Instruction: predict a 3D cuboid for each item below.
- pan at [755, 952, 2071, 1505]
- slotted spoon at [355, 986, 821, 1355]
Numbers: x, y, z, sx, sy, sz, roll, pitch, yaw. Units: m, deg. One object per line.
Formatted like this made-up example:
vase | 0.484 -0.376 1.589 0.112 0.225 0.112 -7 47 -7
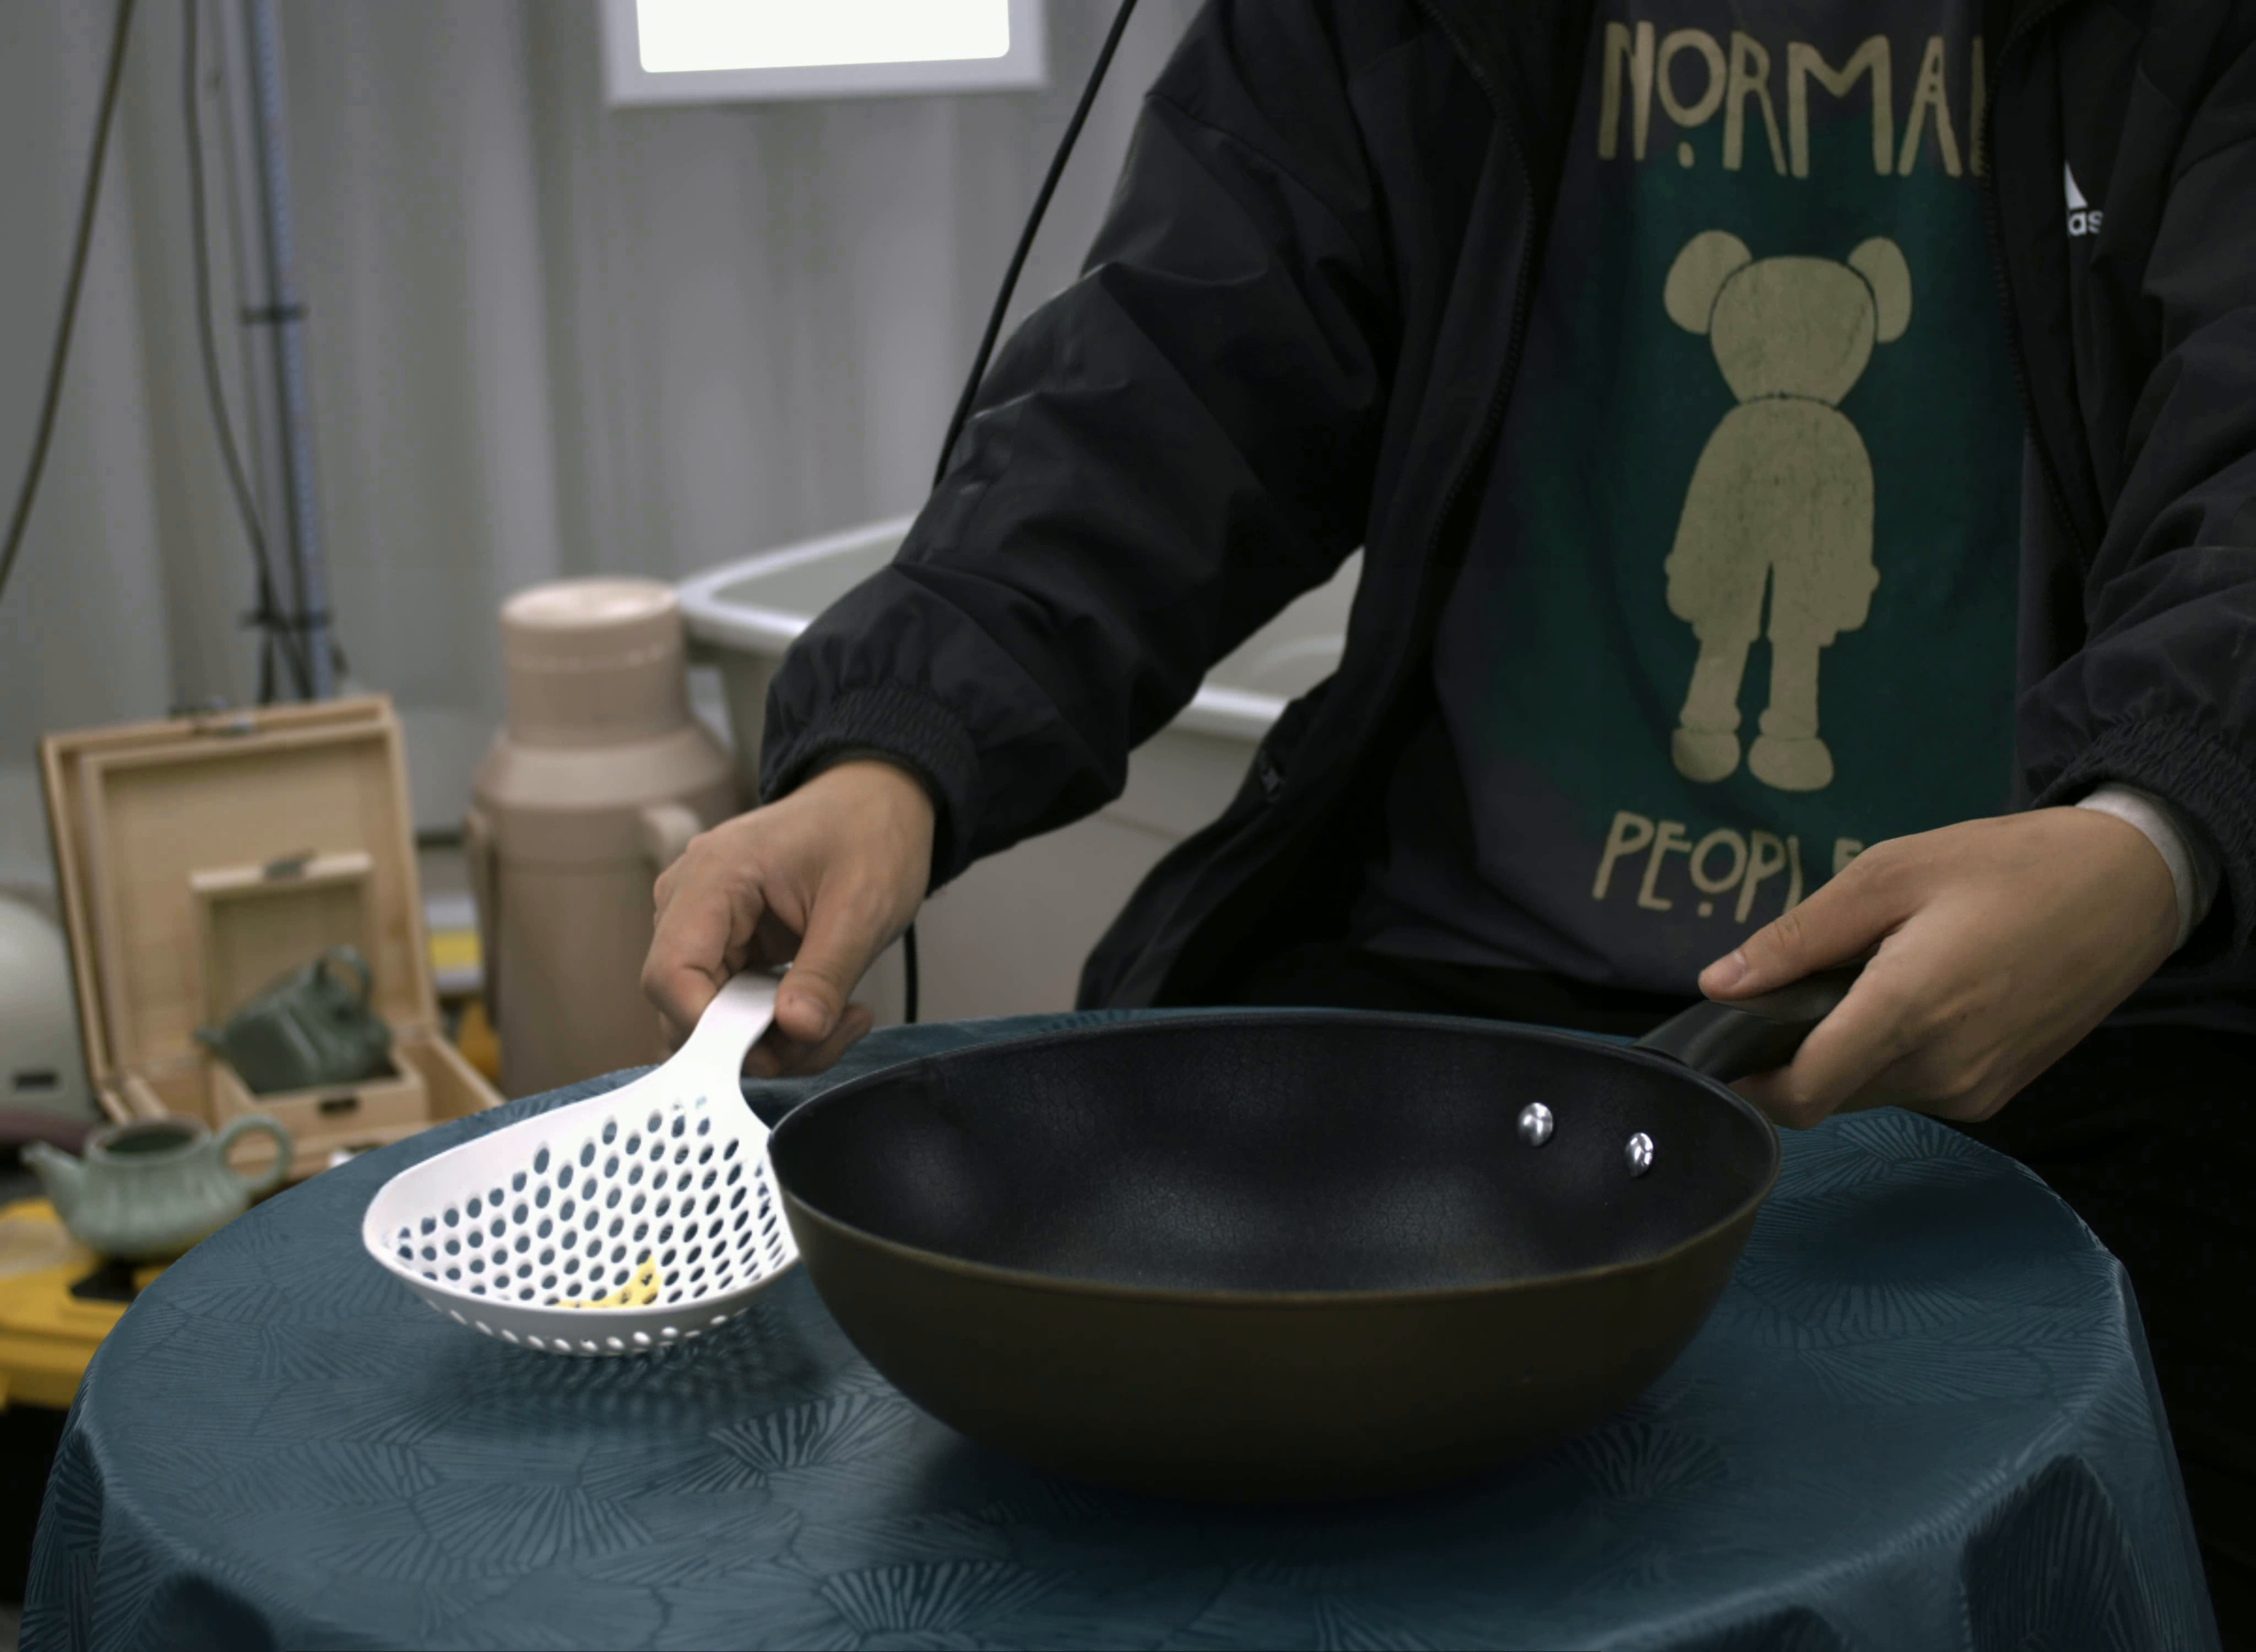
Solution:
pan | 0.106 0.109 1.562 0.461 0.086 0.290 -11 16 -40
slotted spoon | -0.139 0.094 1.705 0.136 0.050 0.350 3 20 8
